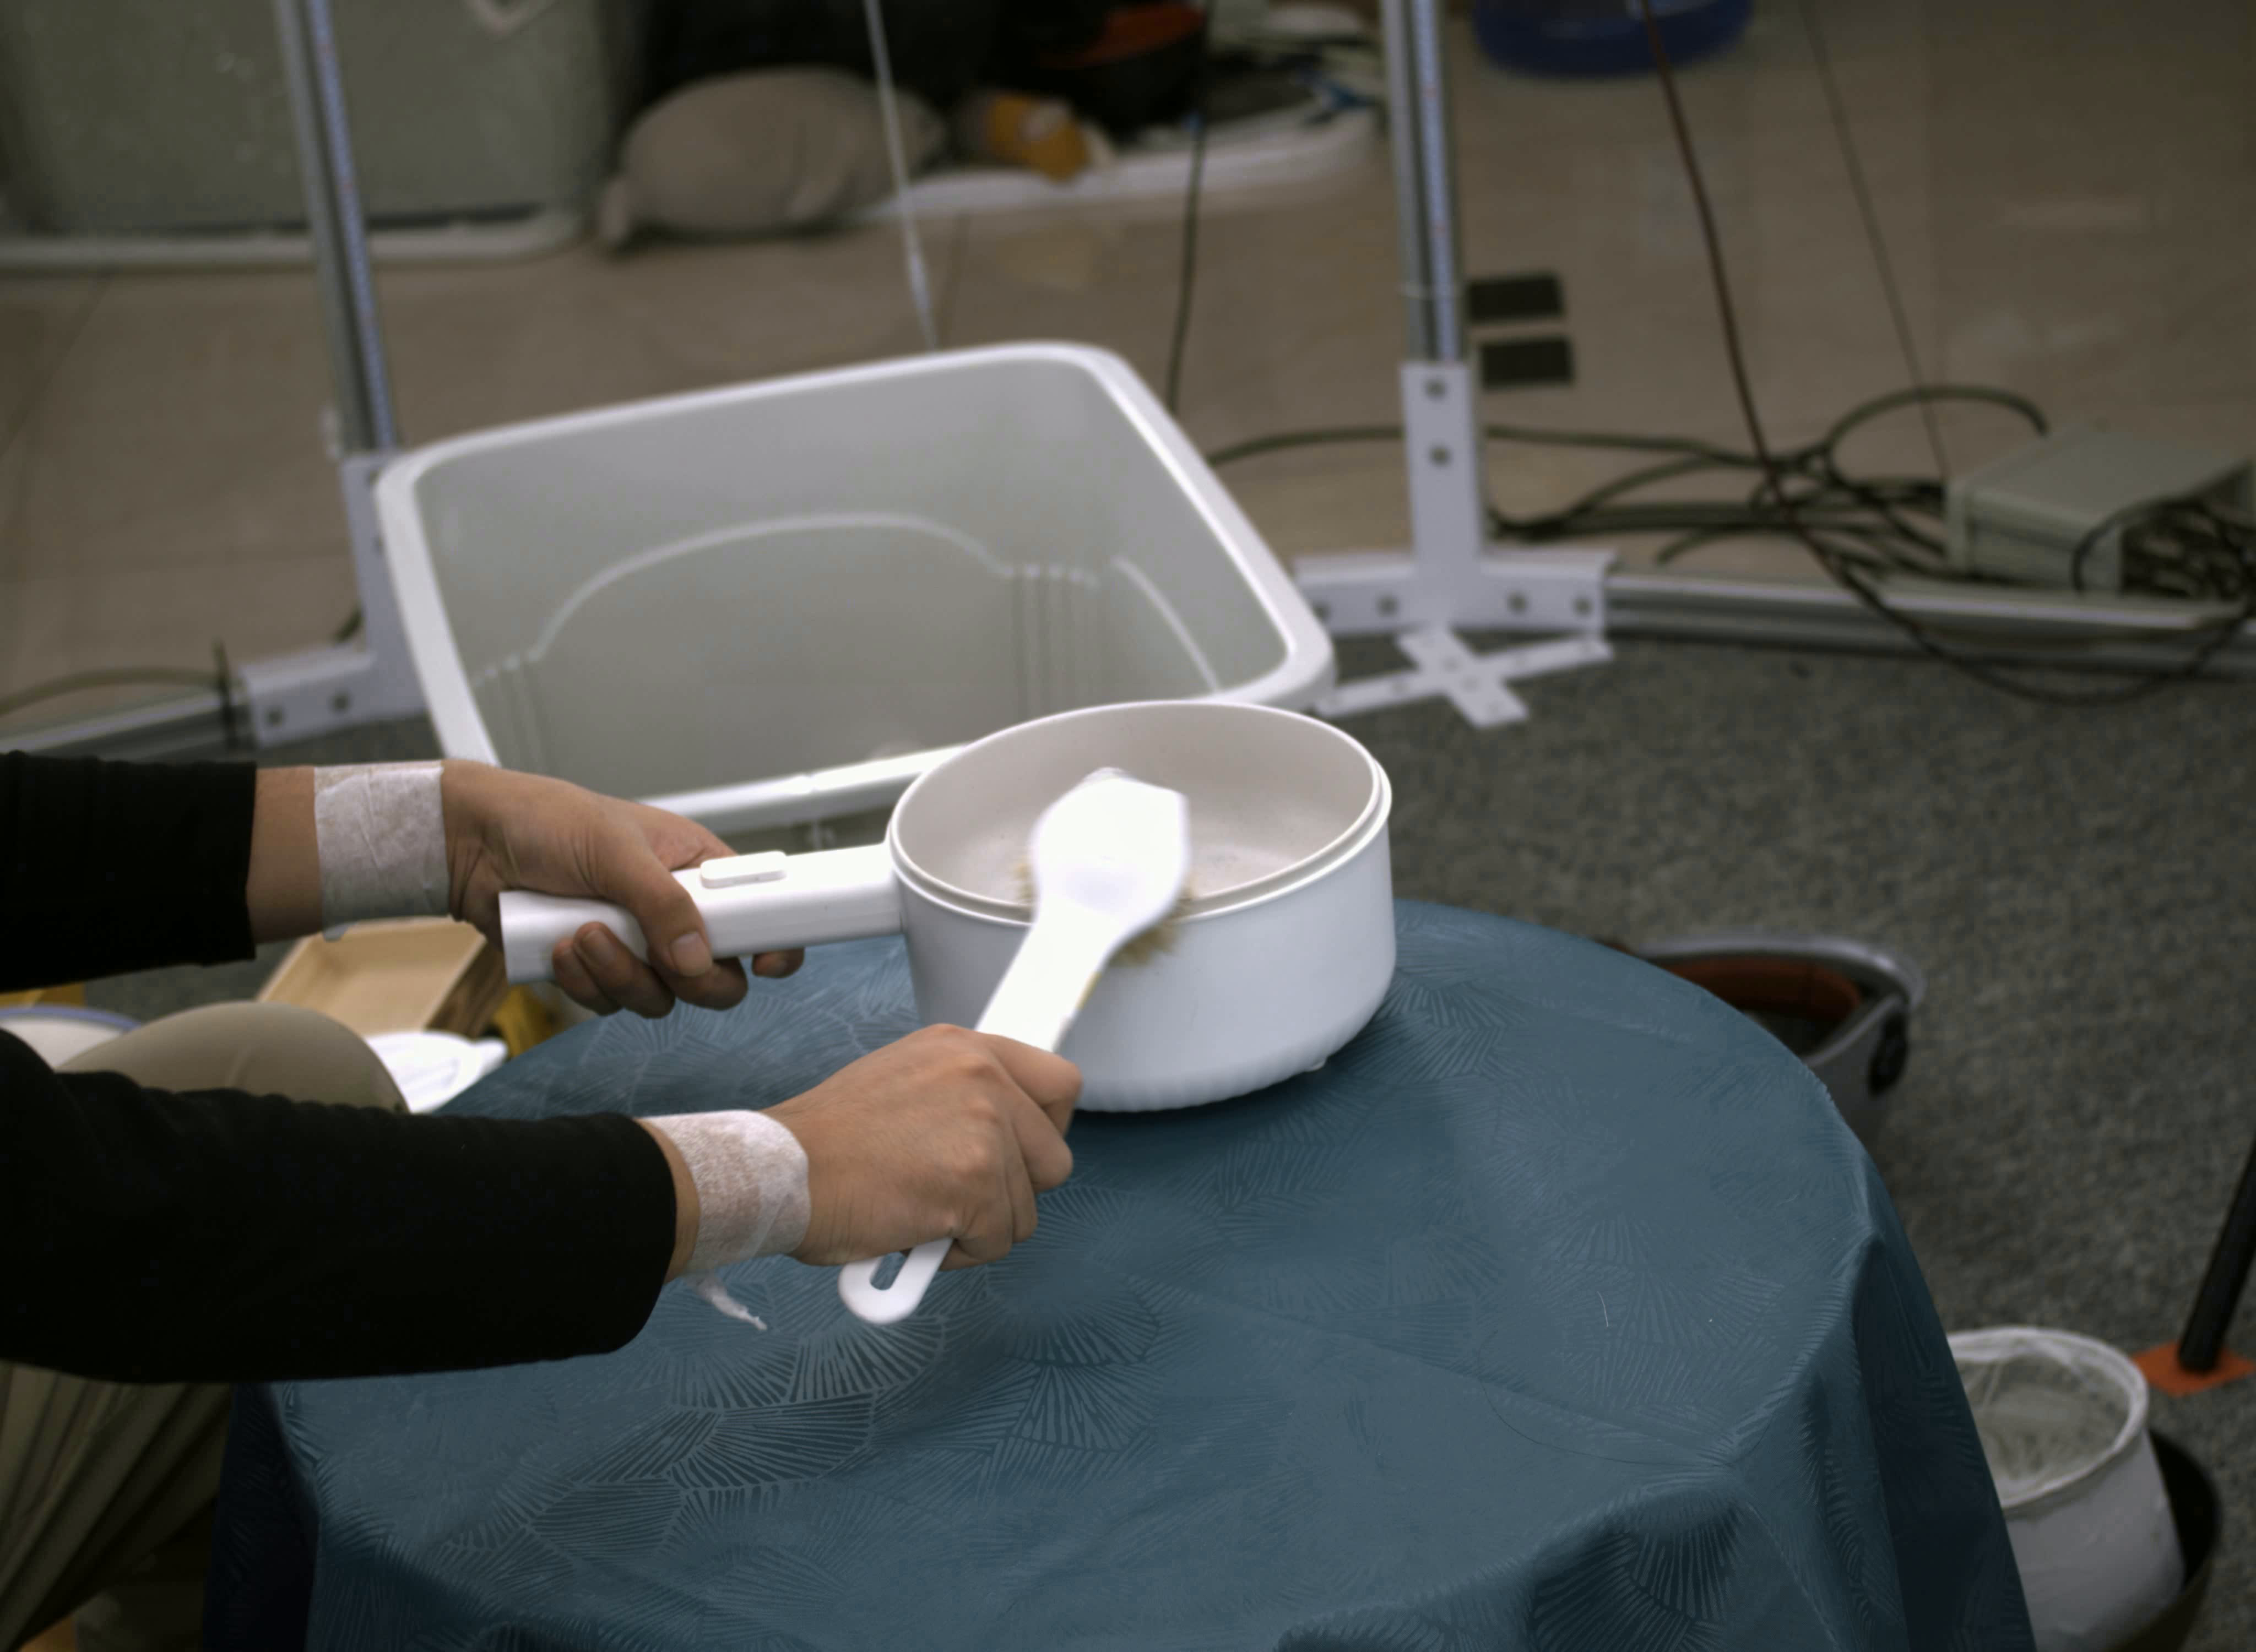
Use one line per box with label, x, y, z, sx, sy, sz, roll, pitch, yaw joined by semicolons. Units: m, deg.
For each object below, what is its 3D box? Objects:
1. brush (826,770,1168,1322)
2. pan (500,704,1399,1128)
brush;-0.054;0.089;2.065;0.068;0.057;0.262;16;53;10
pan;-0.066;0.052;2.242;0.354;0.104;0.198;-10;28;-4
